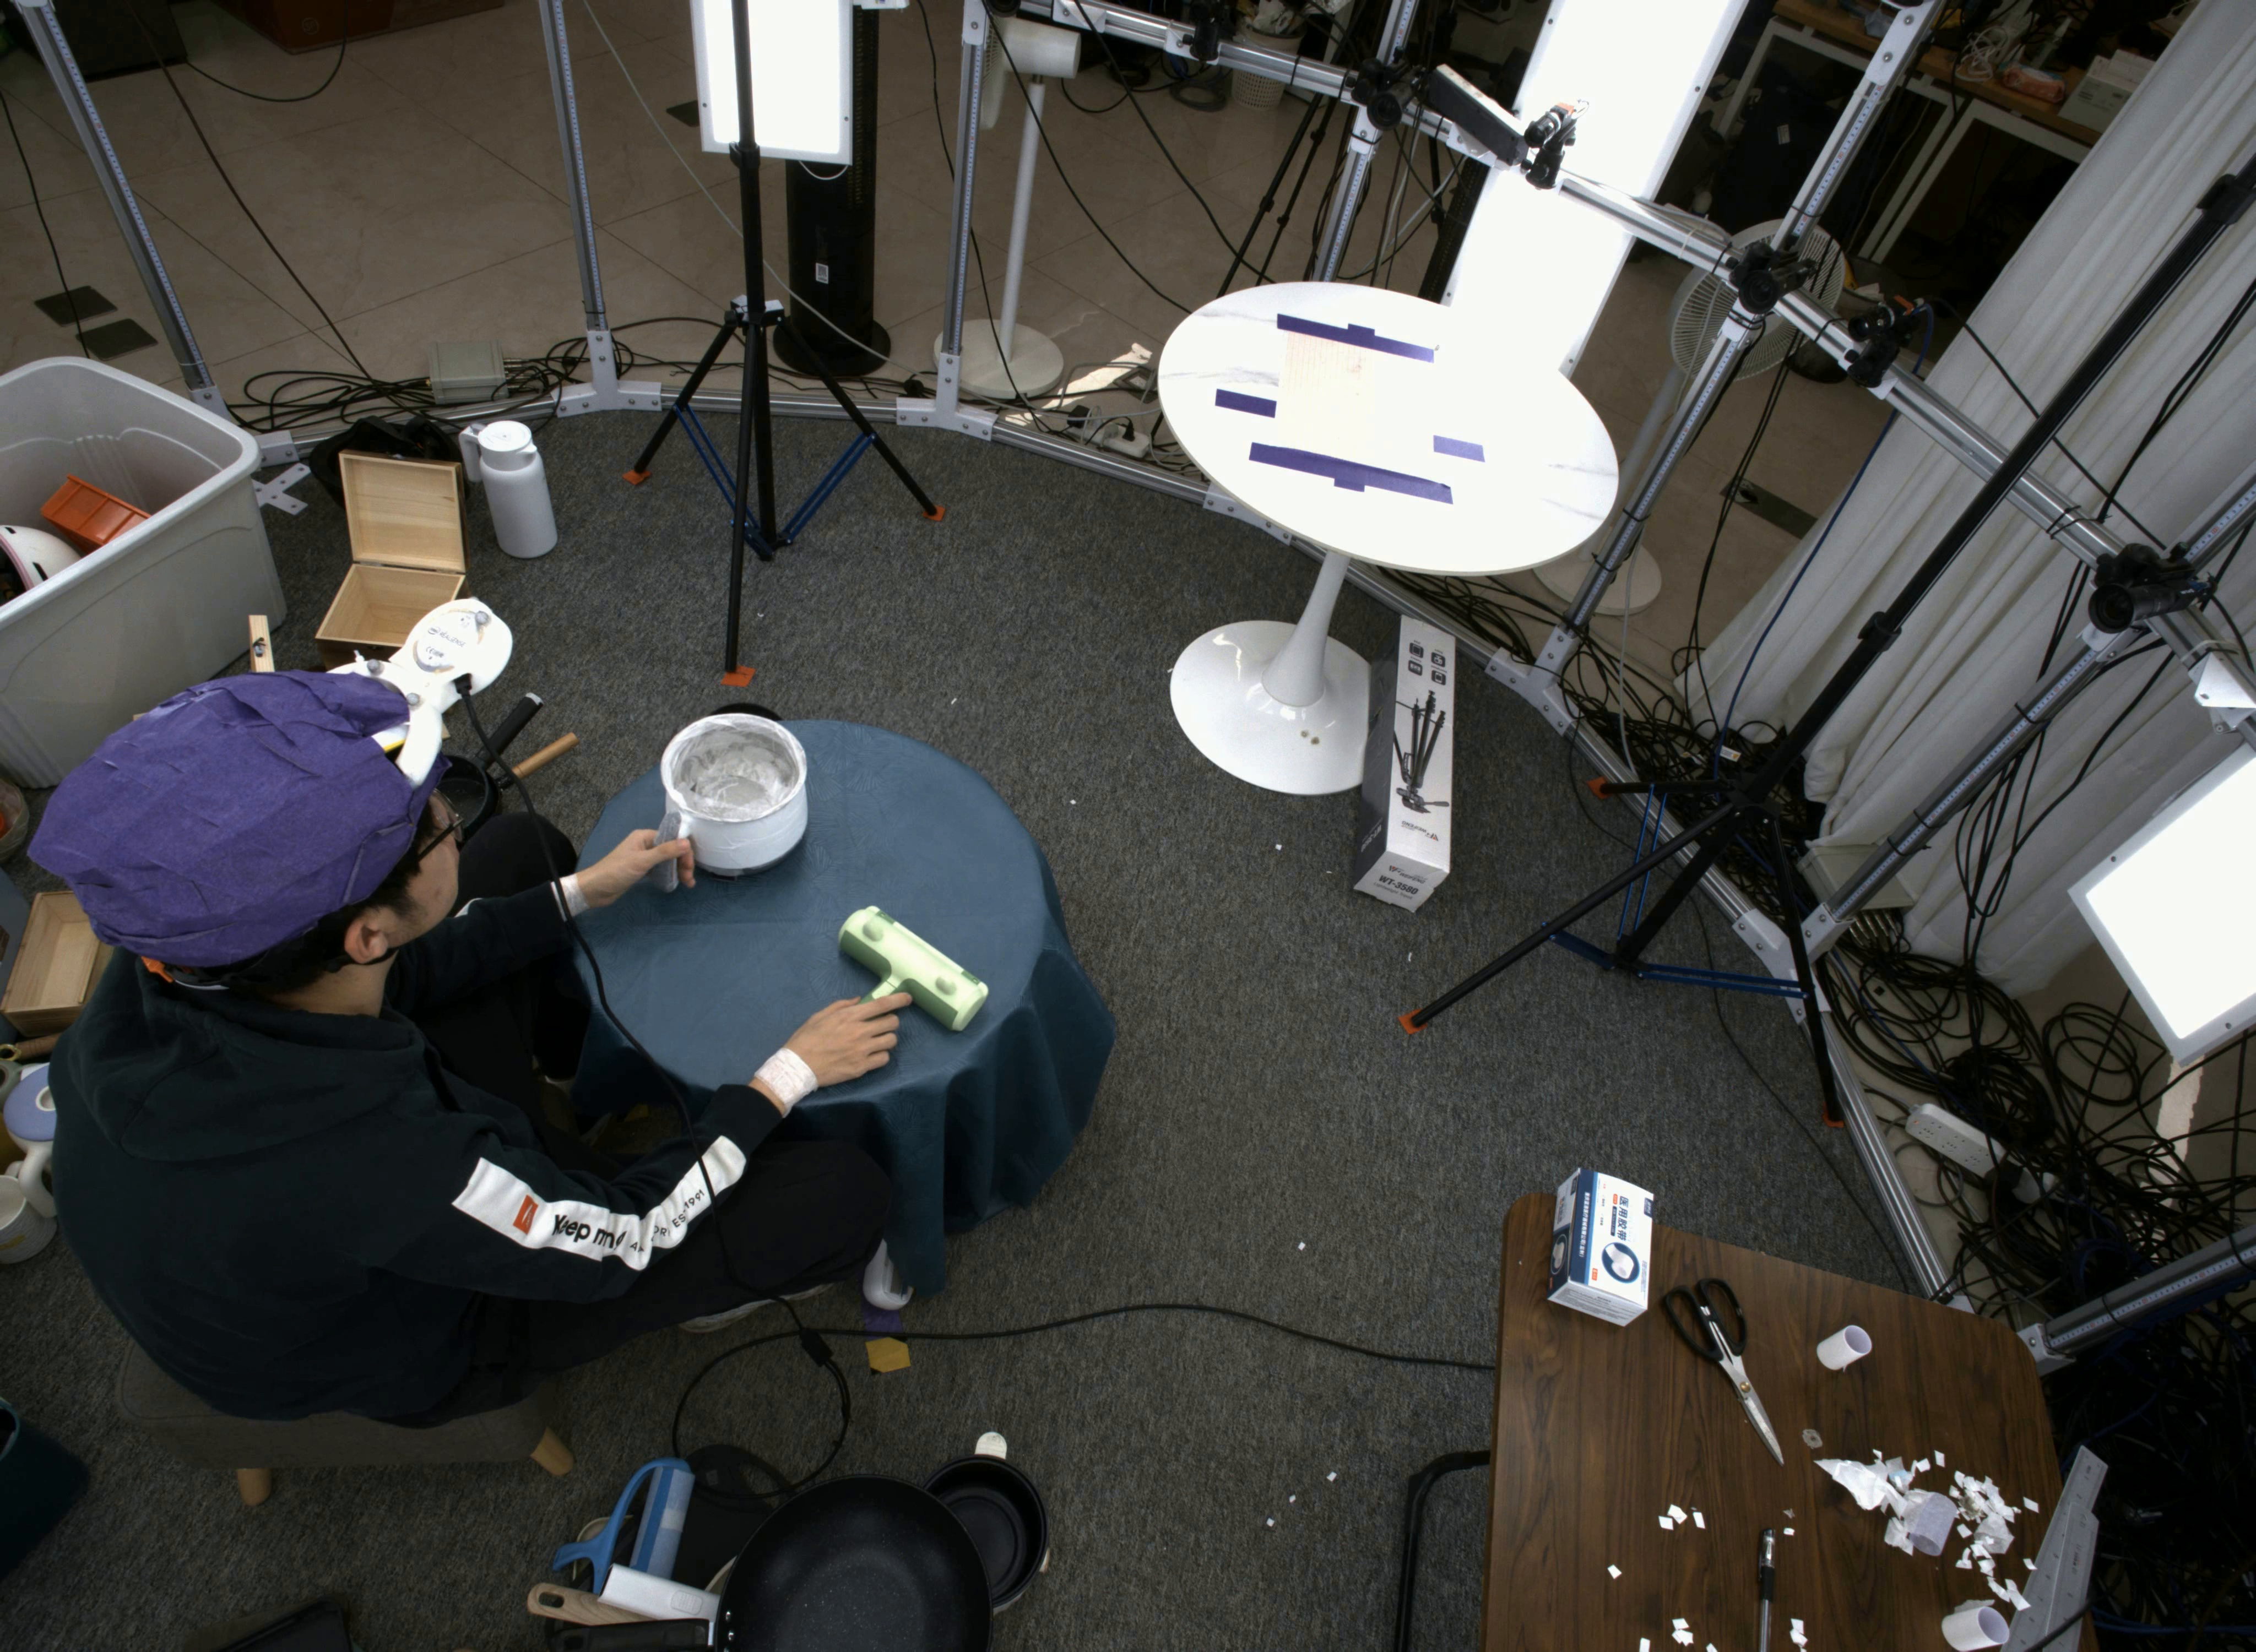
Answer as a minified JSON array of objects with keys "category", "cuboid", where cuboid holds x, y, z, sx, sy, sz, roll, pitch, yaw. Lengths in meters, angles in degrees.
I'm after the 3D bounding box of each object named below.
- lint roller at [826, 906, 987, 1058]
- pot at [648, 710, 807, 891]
[{"category":"lint roller","cuboid":[-0.298,0.198,1.568,0.195,0.084,0.183,34,48,11]},{"category":"pot","cuboid":[-0.515,-0.022,1.634,0.175,0.139,0.233,32,52,12]}]
